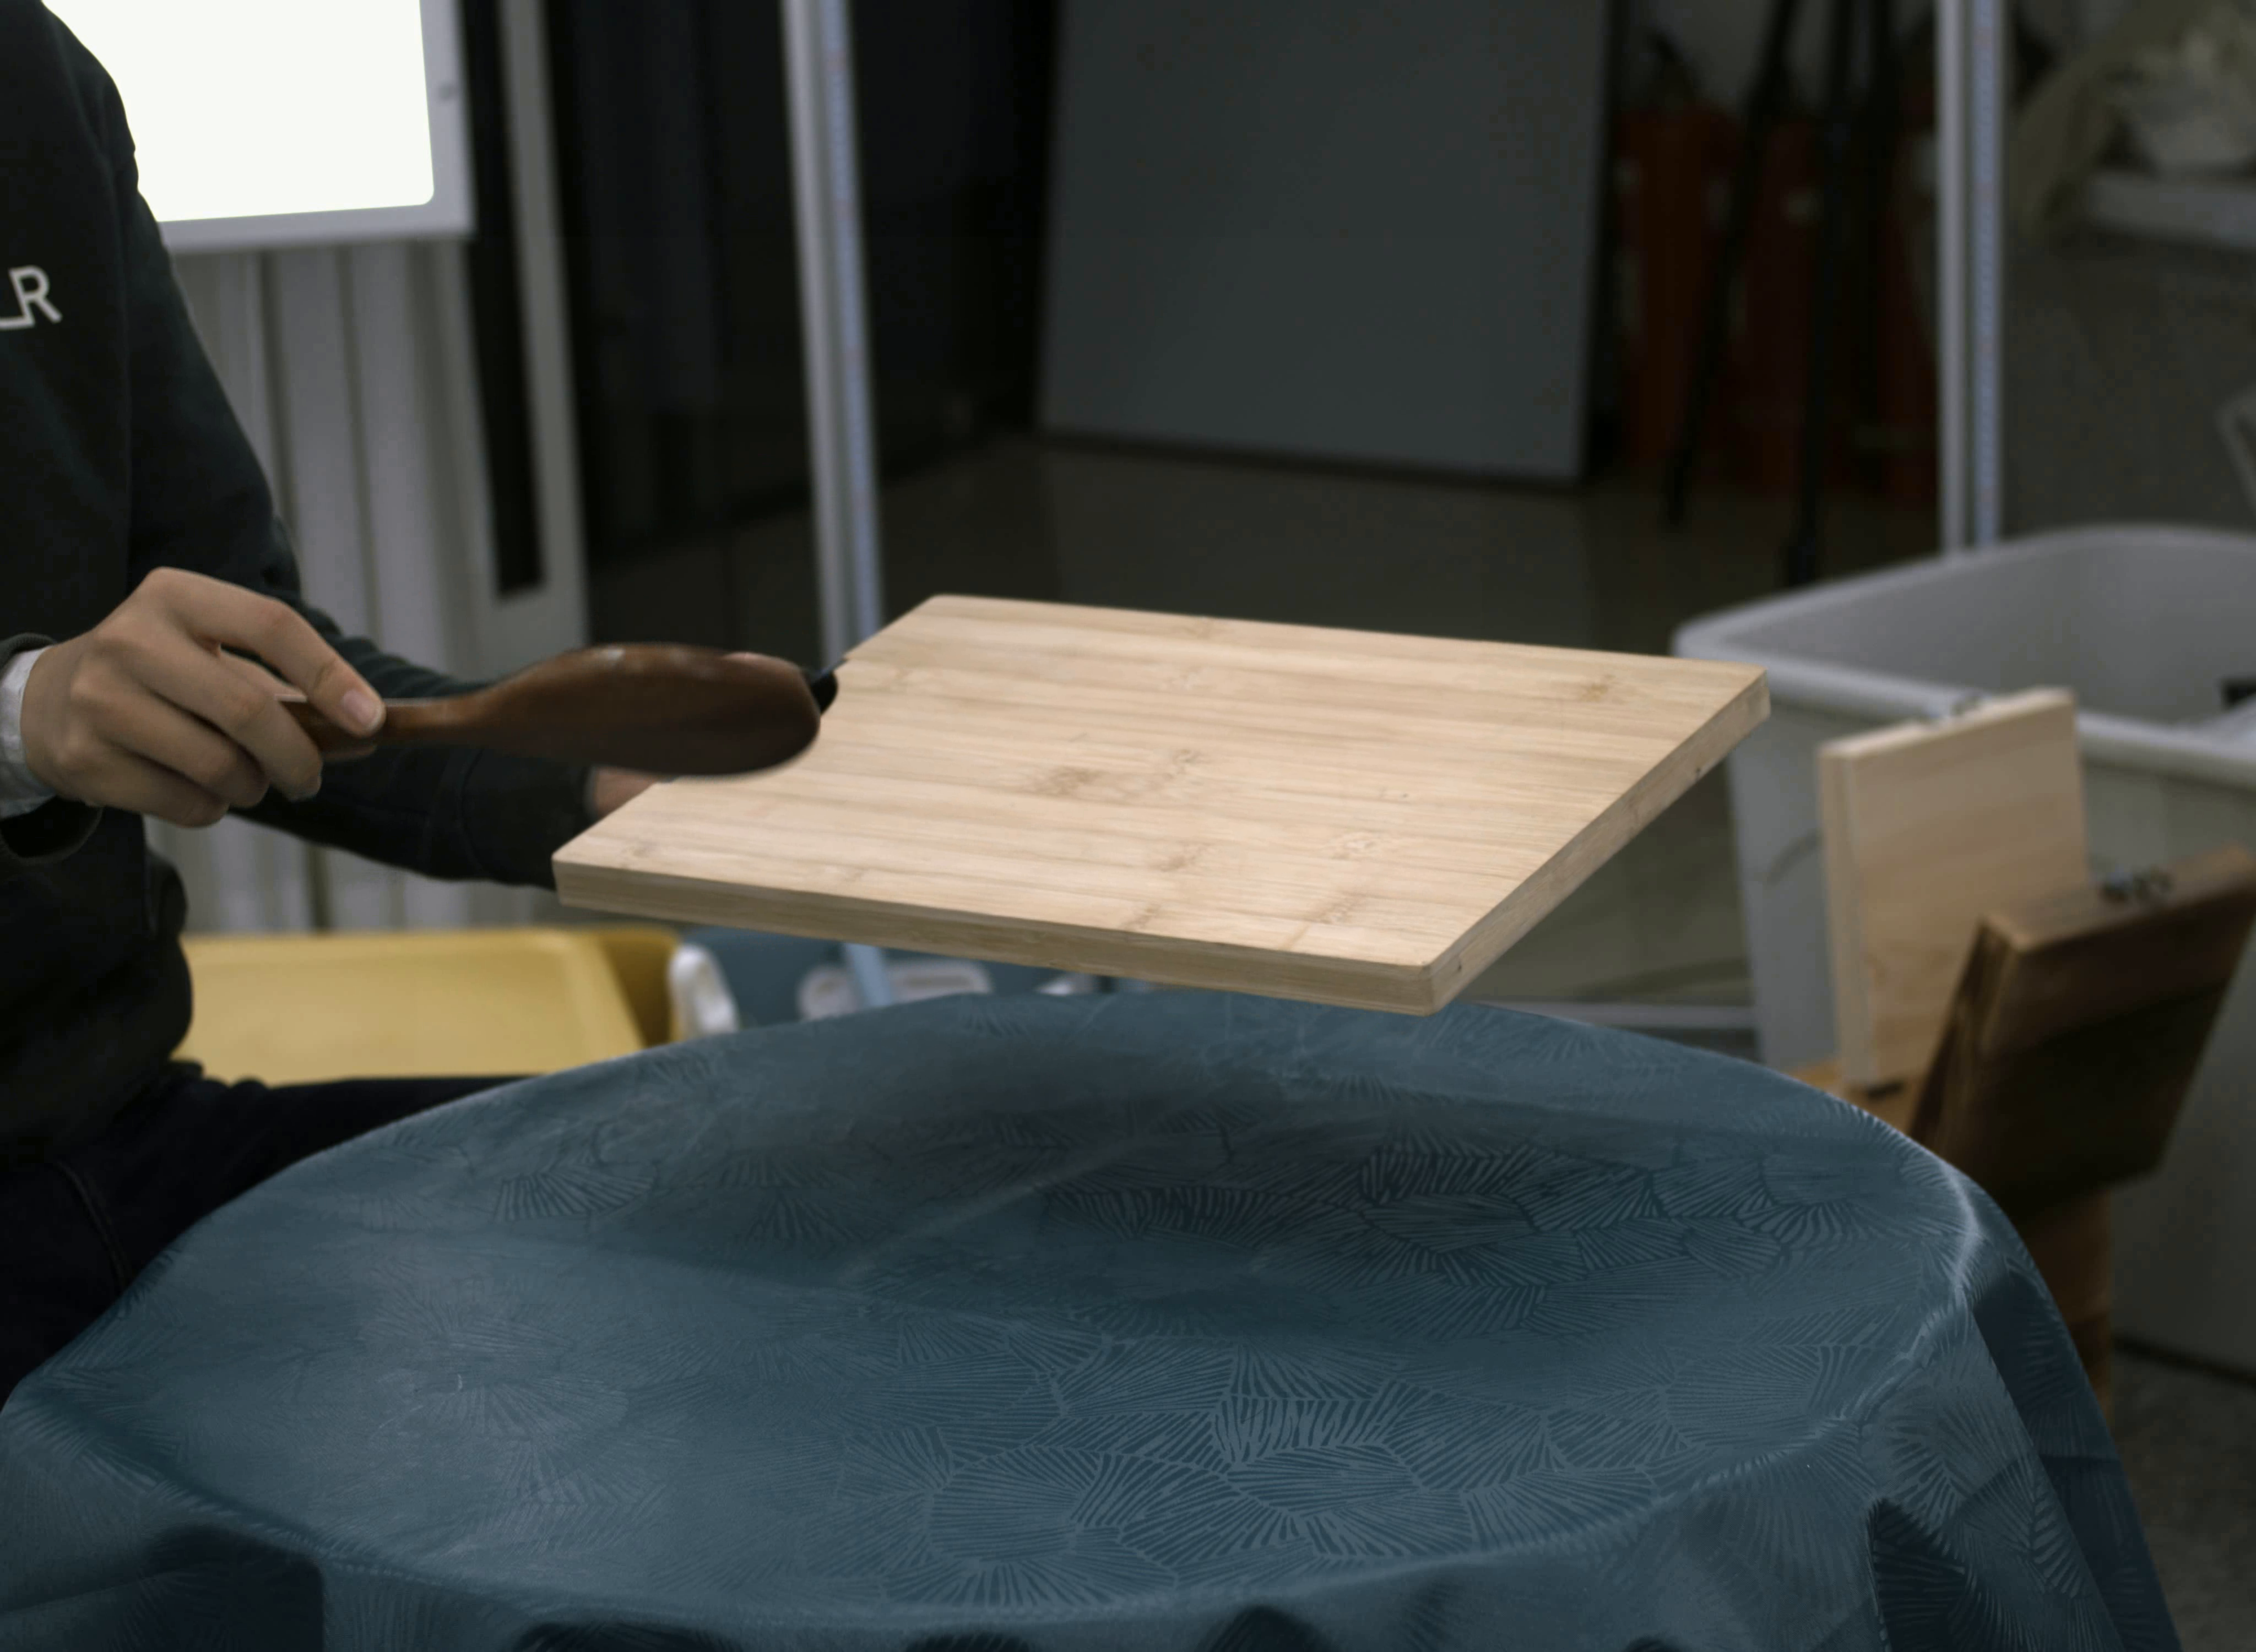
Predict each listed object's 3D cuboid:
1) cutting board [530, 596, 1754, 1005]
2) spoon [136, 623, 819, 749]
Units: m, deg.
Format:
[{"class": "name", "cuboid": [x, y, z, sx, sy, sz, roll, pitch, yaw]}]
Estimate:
[{"class": "cutting board", "cuboid": [0.005, -0.014, 1.797, 0.350, 0.024, 0.247, 5, 26, 33]}, {"class": "spoon", "cuboid": [-0.191, -0.036, 1.570, 0.215, 0.017, 0.075, -1, -22, 21]}]
